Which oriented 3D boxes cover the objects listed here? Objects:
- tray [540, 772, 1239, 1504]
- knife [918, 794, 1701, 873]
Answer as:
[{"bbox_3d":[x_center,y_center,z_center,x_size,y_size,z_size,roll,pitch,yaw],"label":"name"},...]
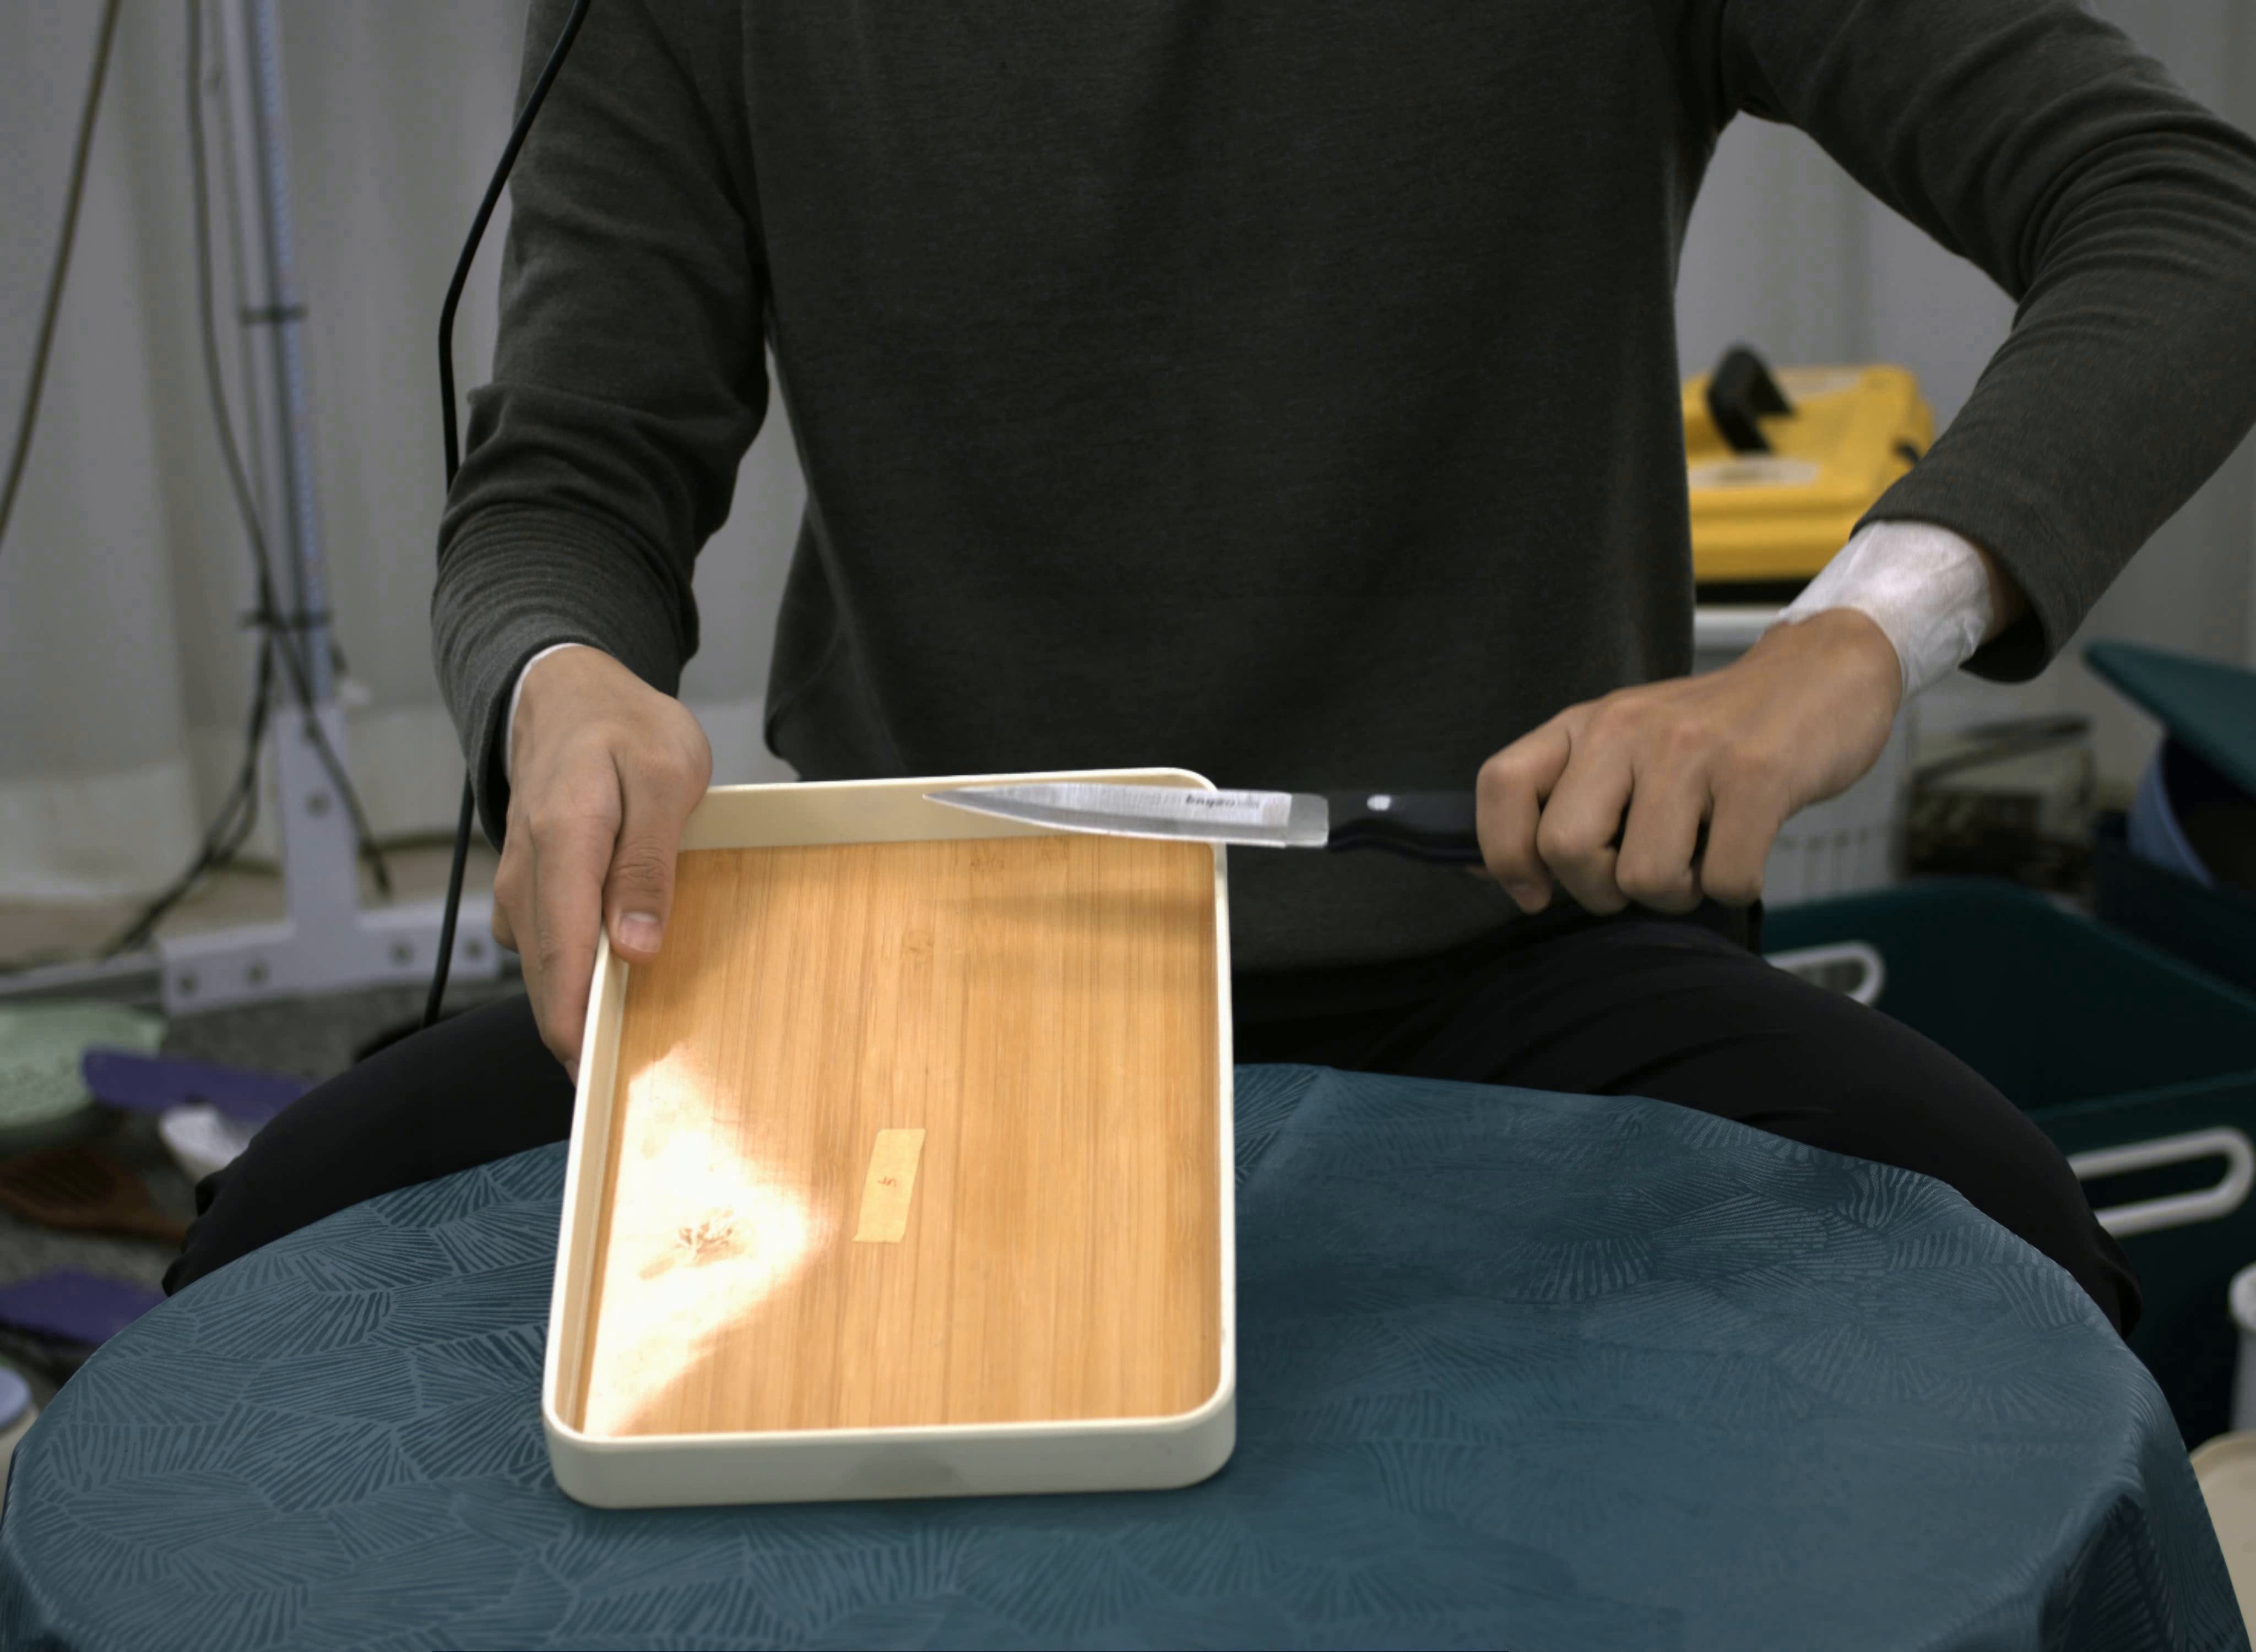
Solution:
[{"bbox_3d":[-0.063,0.084,1.589,0.191,0.027,0.304,-1,36,2],"label":"tray"},{"bbox_3d":[0.054,-0.001,1.648,0.238,0.016,0.025,3,40,9],"label":"knife"}]
